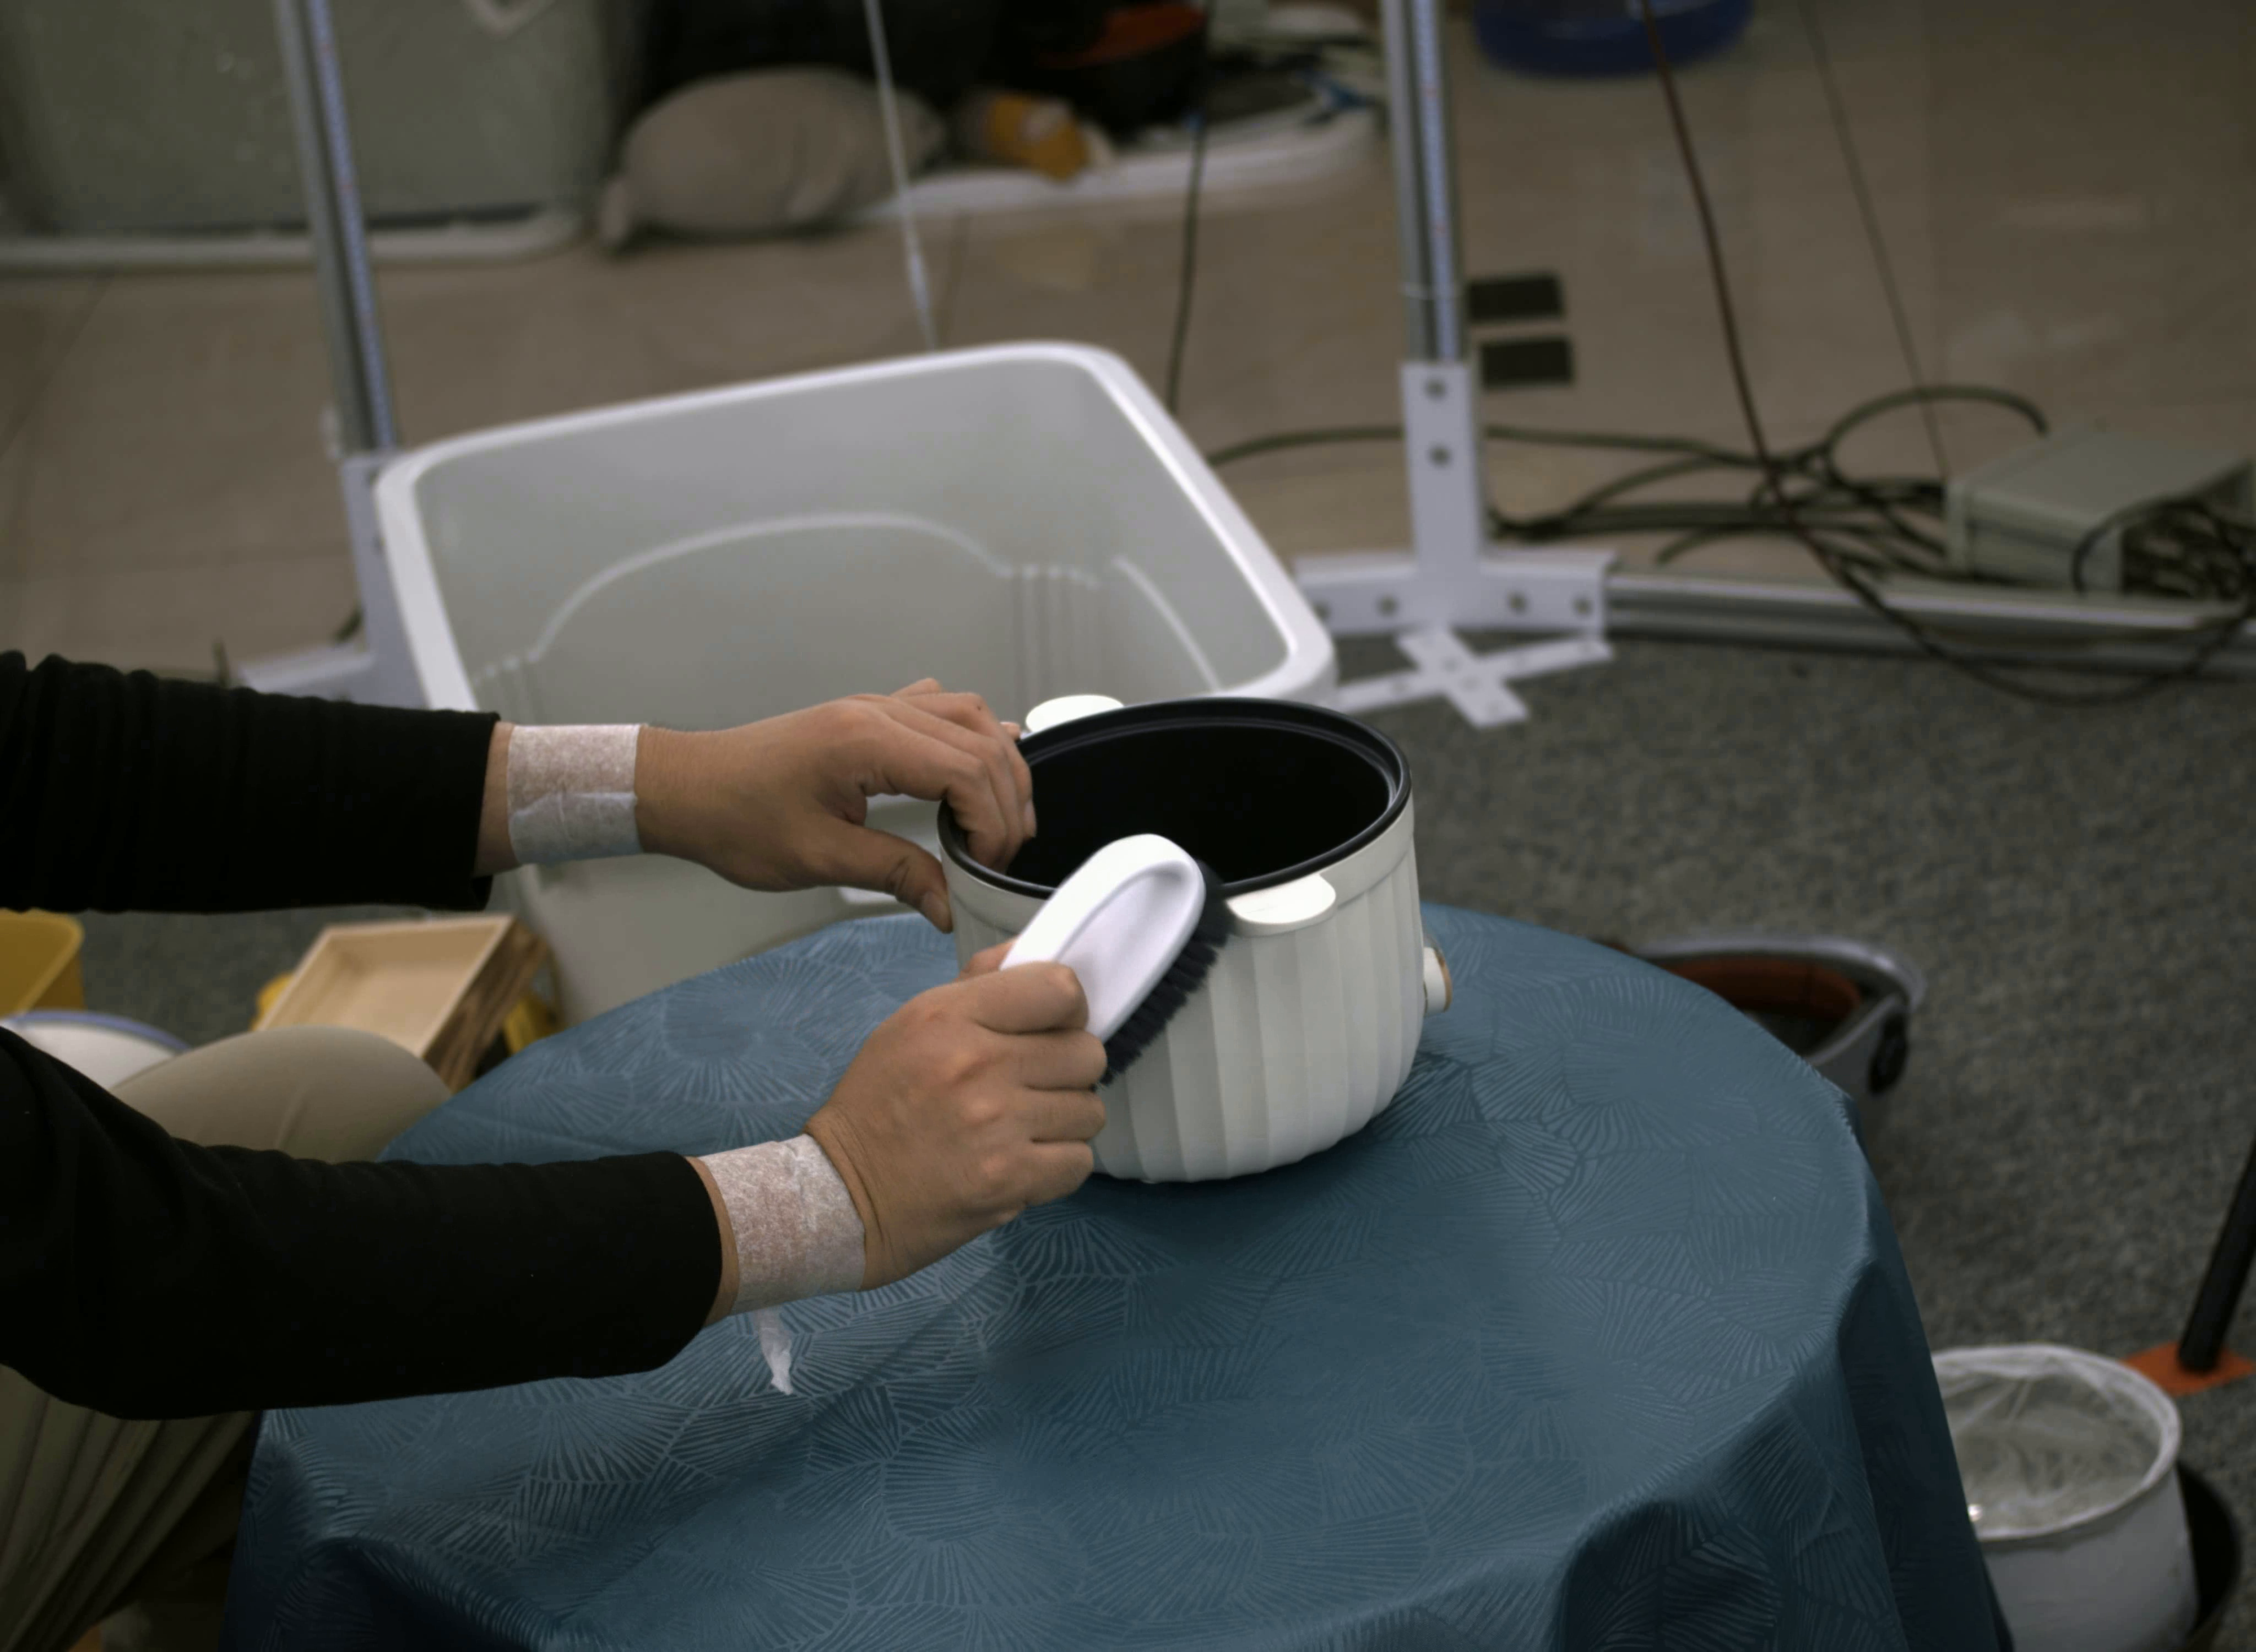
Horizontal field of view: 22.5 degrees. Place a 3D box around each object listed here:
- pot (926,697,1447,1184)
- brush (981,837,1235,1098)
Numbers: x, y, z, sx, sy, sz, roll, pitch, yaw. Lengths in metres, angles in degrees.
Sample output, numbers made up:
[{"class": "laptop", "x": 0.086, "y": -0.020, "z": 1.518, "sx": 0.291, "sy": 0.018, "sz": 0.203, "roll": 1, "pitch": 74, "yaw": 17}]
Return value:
[{"class": "pot", "x": 0.027, "y": 0.046, "z": 2.174, "sx": 0.189, "sy": 0.145, "sz": 0.237, "roll": -18, "pitch": 29, "yaw": -17}, {"class": "brush", "x": -0.013, "y": 0.047, "z": 2.026, "sx": 0.050, "sy": 0.073, "sz": 0.099, "roll": 43, "pitch": 93, "yaw": 26}]
